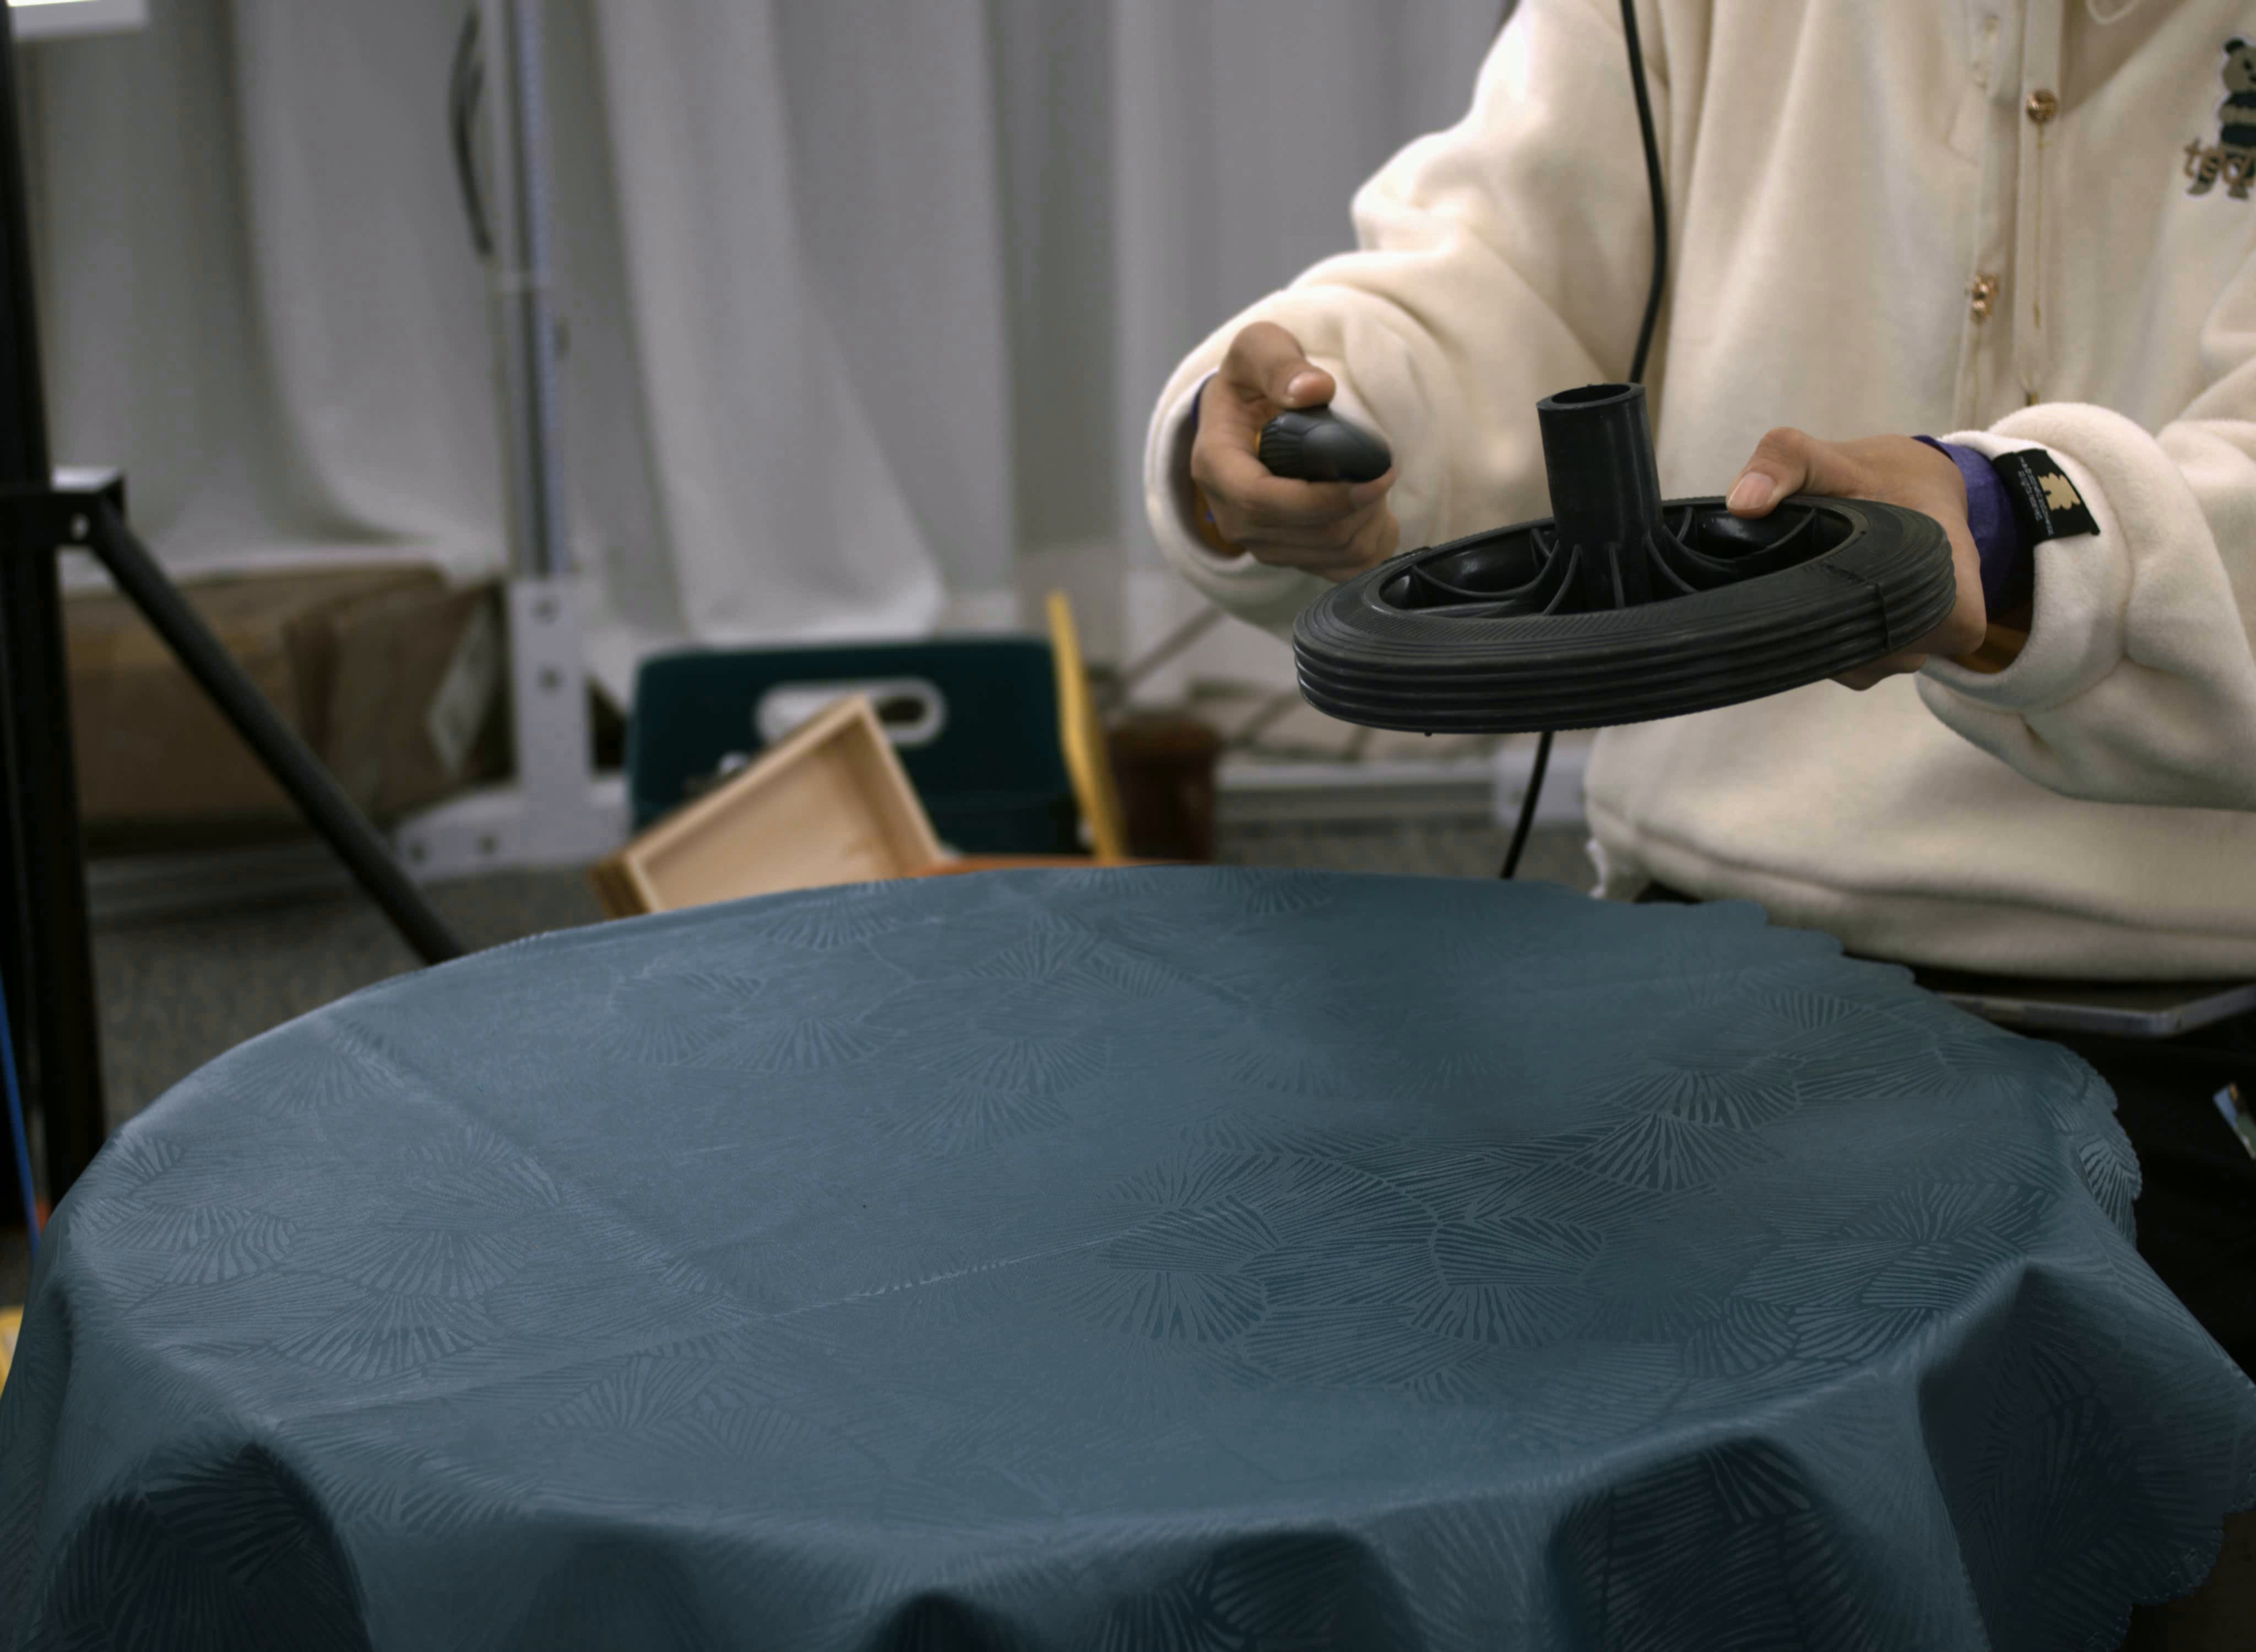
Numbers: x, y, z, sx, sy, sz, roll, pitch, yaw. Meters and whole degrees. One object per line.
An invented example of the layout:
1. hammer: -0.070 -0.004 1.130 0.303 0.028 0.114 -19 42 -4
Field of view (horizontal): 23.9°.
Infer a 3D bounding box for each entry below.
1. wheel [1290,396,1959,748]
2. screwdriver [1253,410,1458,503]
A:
1. wheel: 0.136 -0.078 1.493 0.188 0.079 0.189 -13 14 -5
2. screwdriver: 0.074 -0.115 1.665 0.031 0.031 0.200 -5 5 -13
